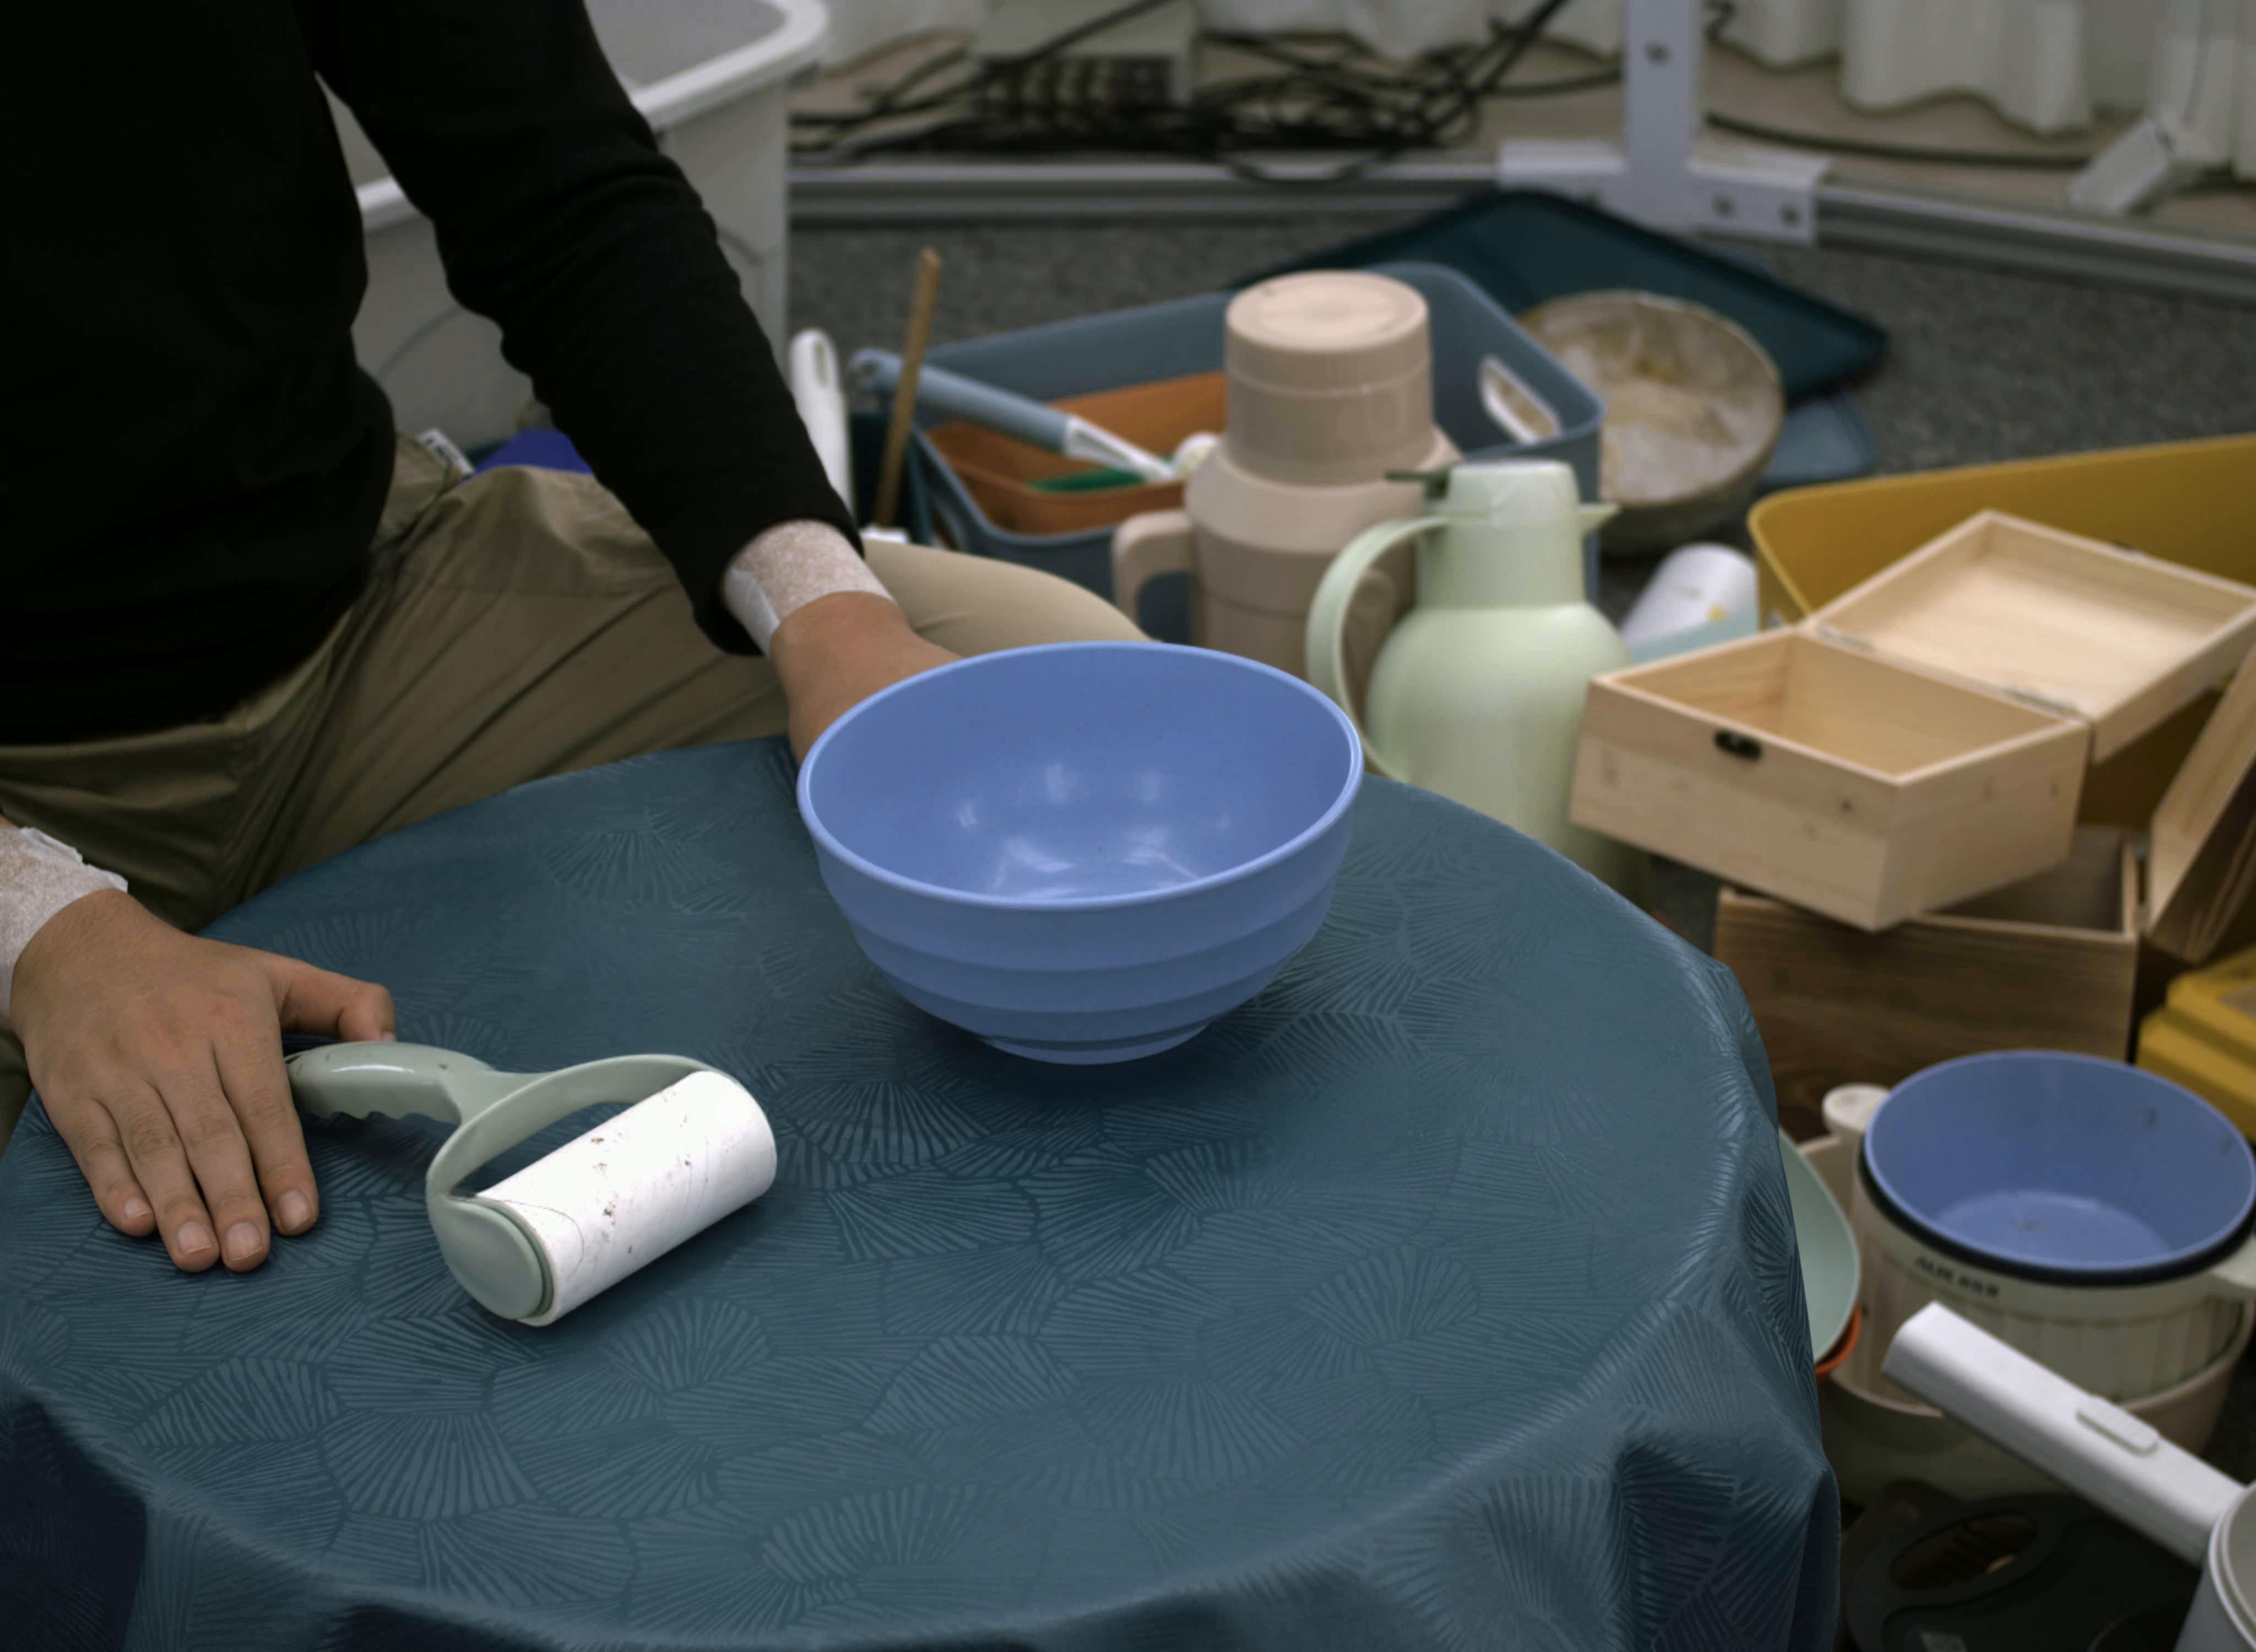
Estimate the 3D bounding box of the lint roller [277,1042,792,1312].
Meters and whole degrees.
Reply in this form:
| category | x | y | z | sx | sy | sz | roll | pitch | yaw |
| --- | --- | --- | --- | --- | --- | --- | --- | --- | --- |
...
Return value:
| category | x | y | z | sx | sy | sz | roll | pitch | yaw |
| --- | --- | --- | --- | --- | --- | --- | --- | --- | --- |
| lint roller | -0.215 | 0.100 | 1.878 | 0.197 | 0.048 | 0.118 | 18 | 35 | 38 |

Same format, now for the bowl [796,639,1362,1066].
| category | x | y | z | sx | sy | sz | roll | pitch | yaw |
| --- | --- | --- | --- | --- | --- | --- | --- | --- | --- |
| bowl | -0.014 | 0.020 | 1.956 | 0.195 | 0.094 | 0.199 | -3 | 28 | 2 |
